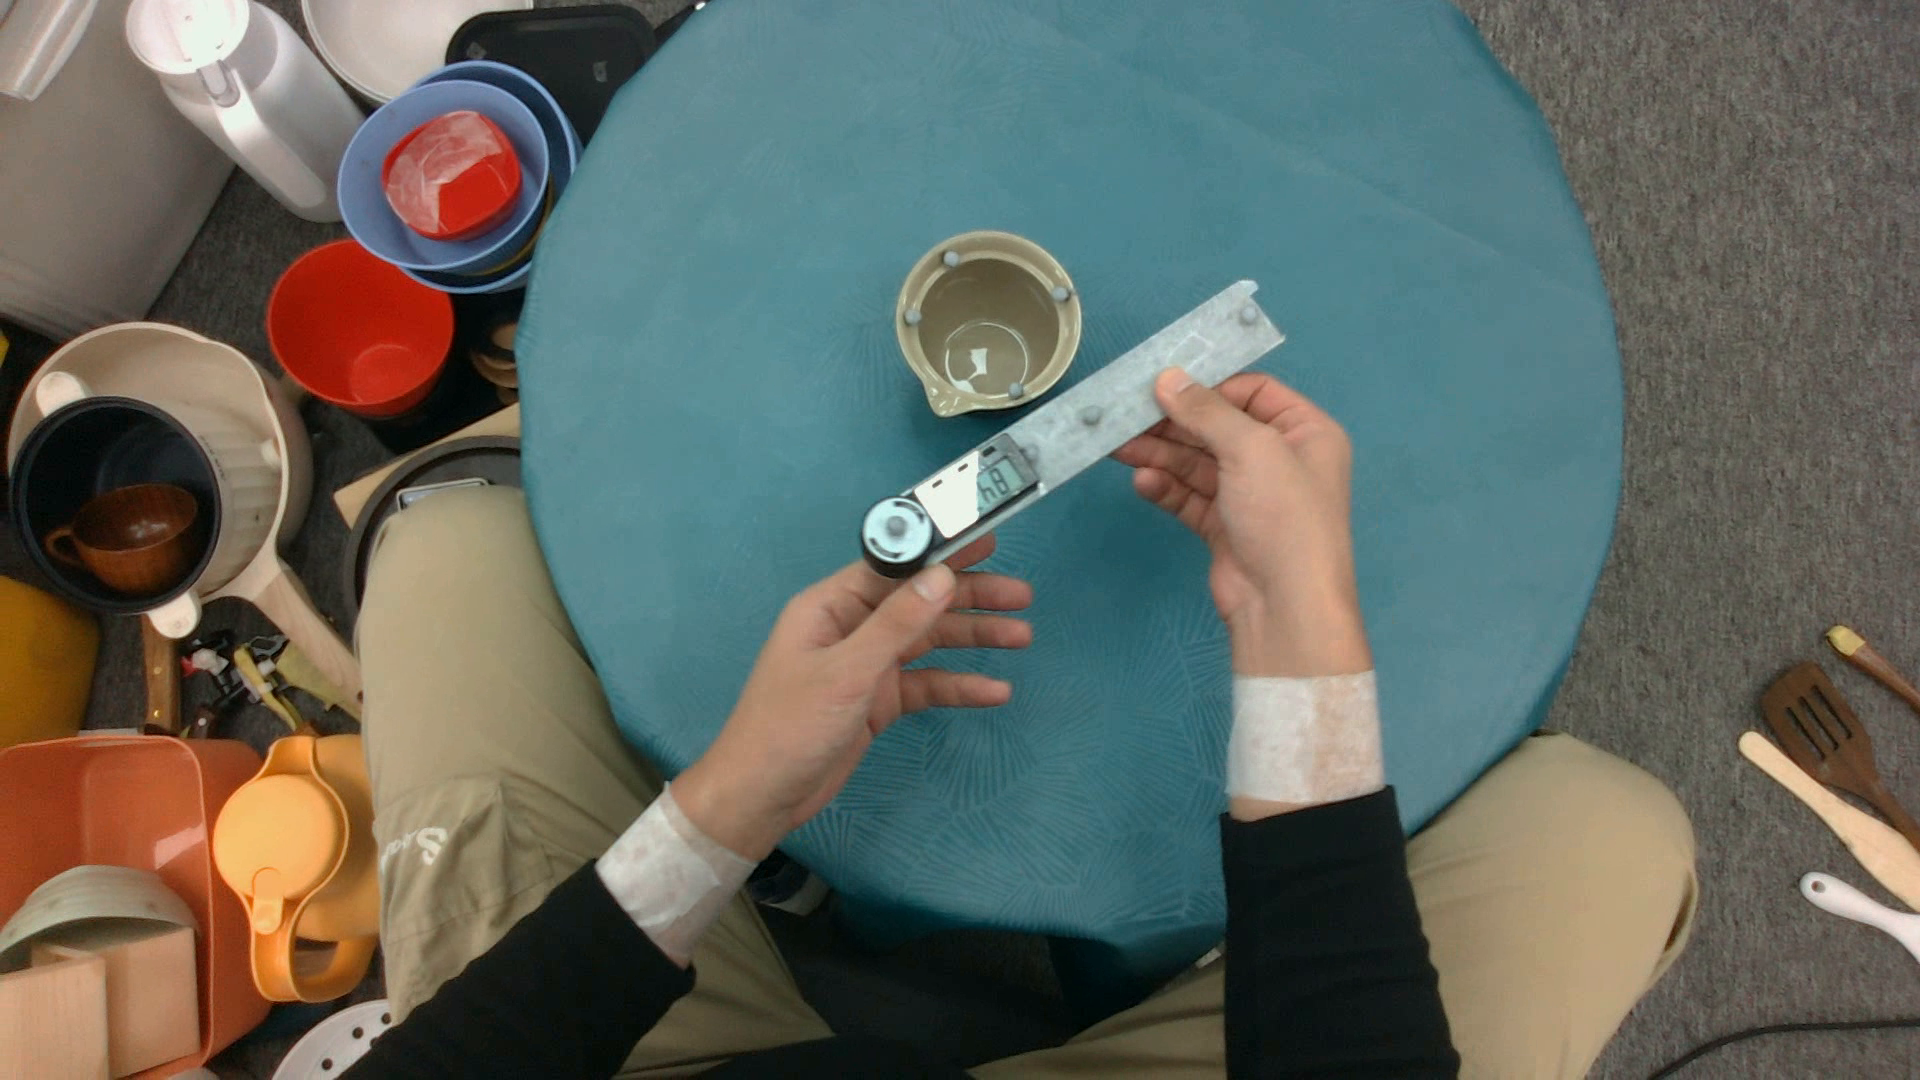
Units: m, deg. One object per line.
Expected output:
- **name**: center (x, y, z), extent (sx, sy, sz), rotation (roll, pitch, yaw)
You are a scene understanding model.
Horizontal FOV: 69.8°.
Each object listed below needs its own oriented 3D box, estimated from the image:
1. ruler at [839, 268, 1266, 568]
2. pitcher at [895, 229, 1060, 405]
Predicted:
- **ruler**: center (0.041, -0.055, 0.613), extent (0.218, 0.024, 0.038), rotation (-32, 86, -8)
- **pitcher**: center (0.006, -0.105, 0.712), extent (0.083, 0.071, 0.096), rotation (26, 78, 3)
